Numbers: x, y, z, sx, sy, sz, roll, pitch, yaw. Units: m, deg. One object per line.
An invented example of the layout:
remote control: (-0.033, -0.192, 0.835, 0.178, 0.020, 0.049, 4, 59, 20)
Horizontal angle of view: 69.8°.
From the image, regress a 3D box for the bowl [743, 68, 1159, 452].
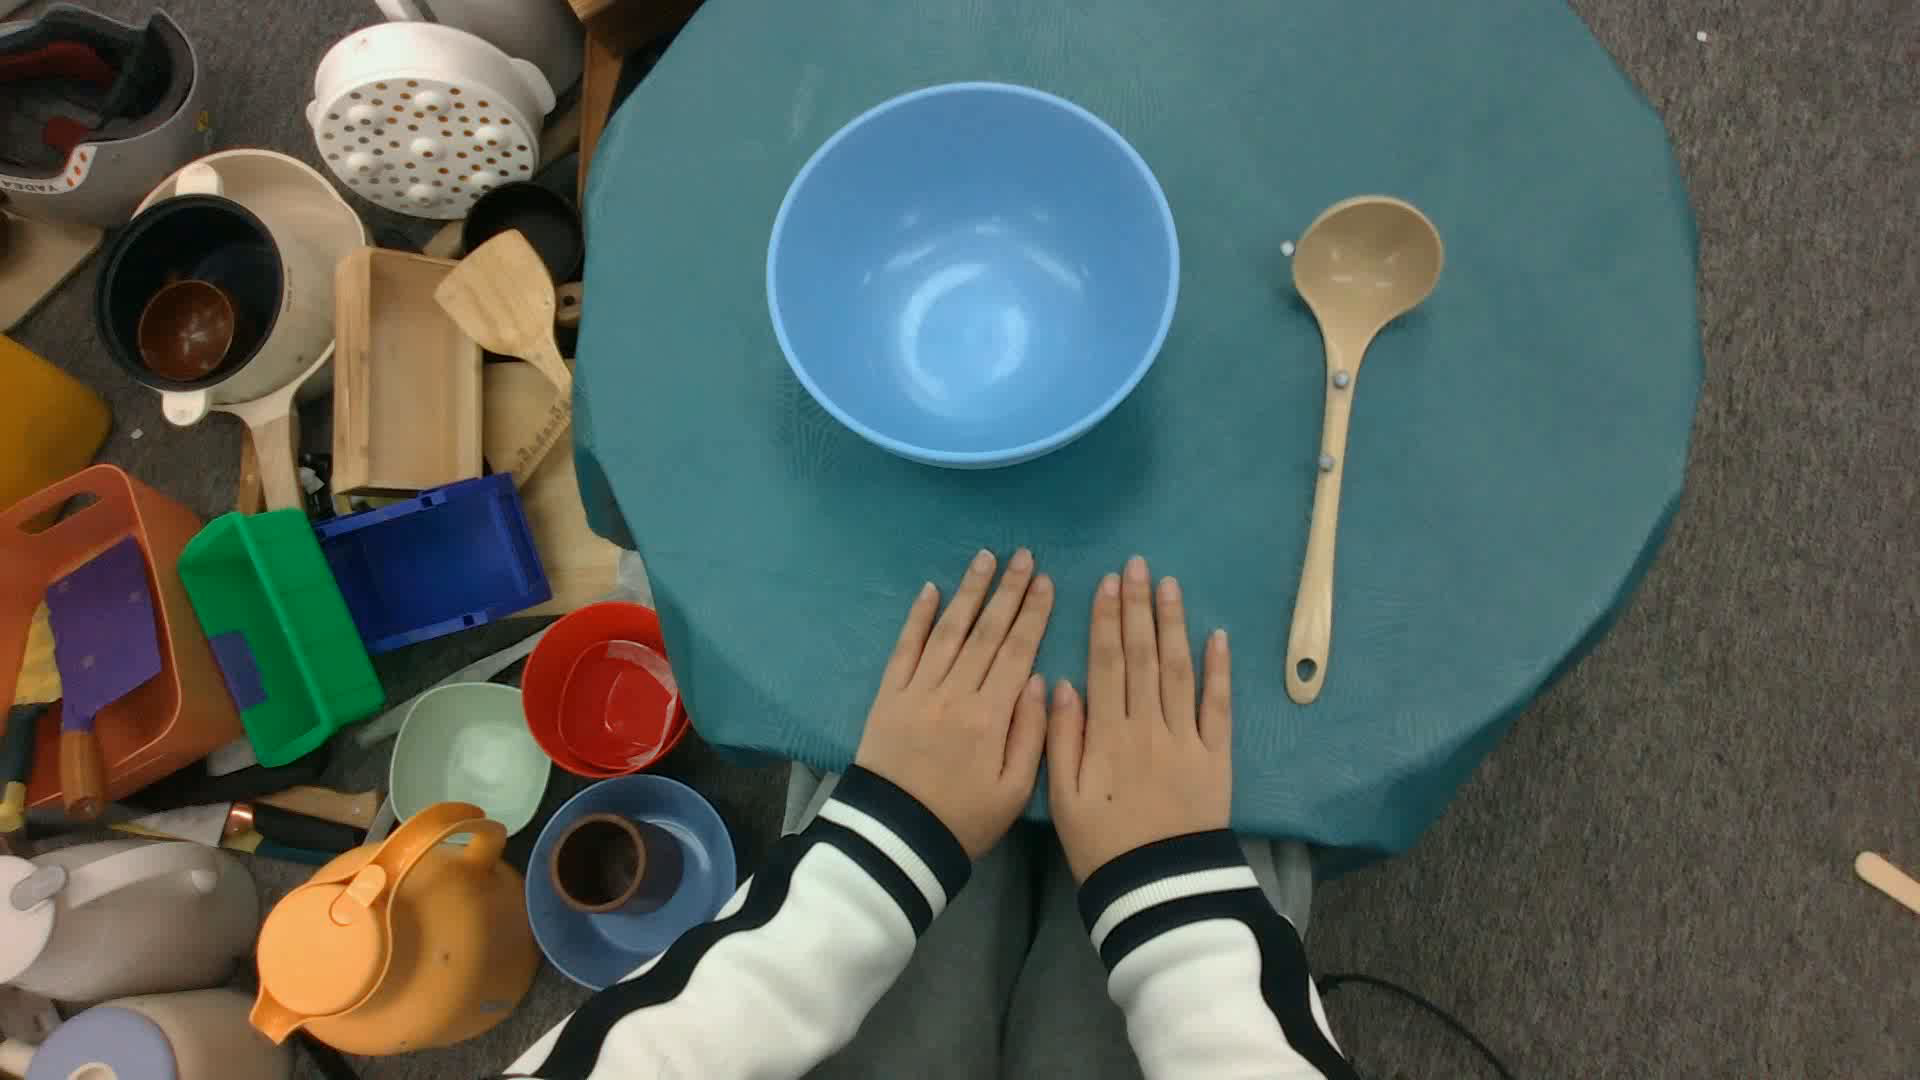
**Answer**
bowl: (-0.003, -0.125, 0.691, 0.196, 0.095, 0.197, -1, 72, 3)

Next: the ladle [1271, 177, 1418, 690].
ladle: (0.183, -0.057, 0.678, 0.072, 0.072, 0.255, 7, 75, 5)
